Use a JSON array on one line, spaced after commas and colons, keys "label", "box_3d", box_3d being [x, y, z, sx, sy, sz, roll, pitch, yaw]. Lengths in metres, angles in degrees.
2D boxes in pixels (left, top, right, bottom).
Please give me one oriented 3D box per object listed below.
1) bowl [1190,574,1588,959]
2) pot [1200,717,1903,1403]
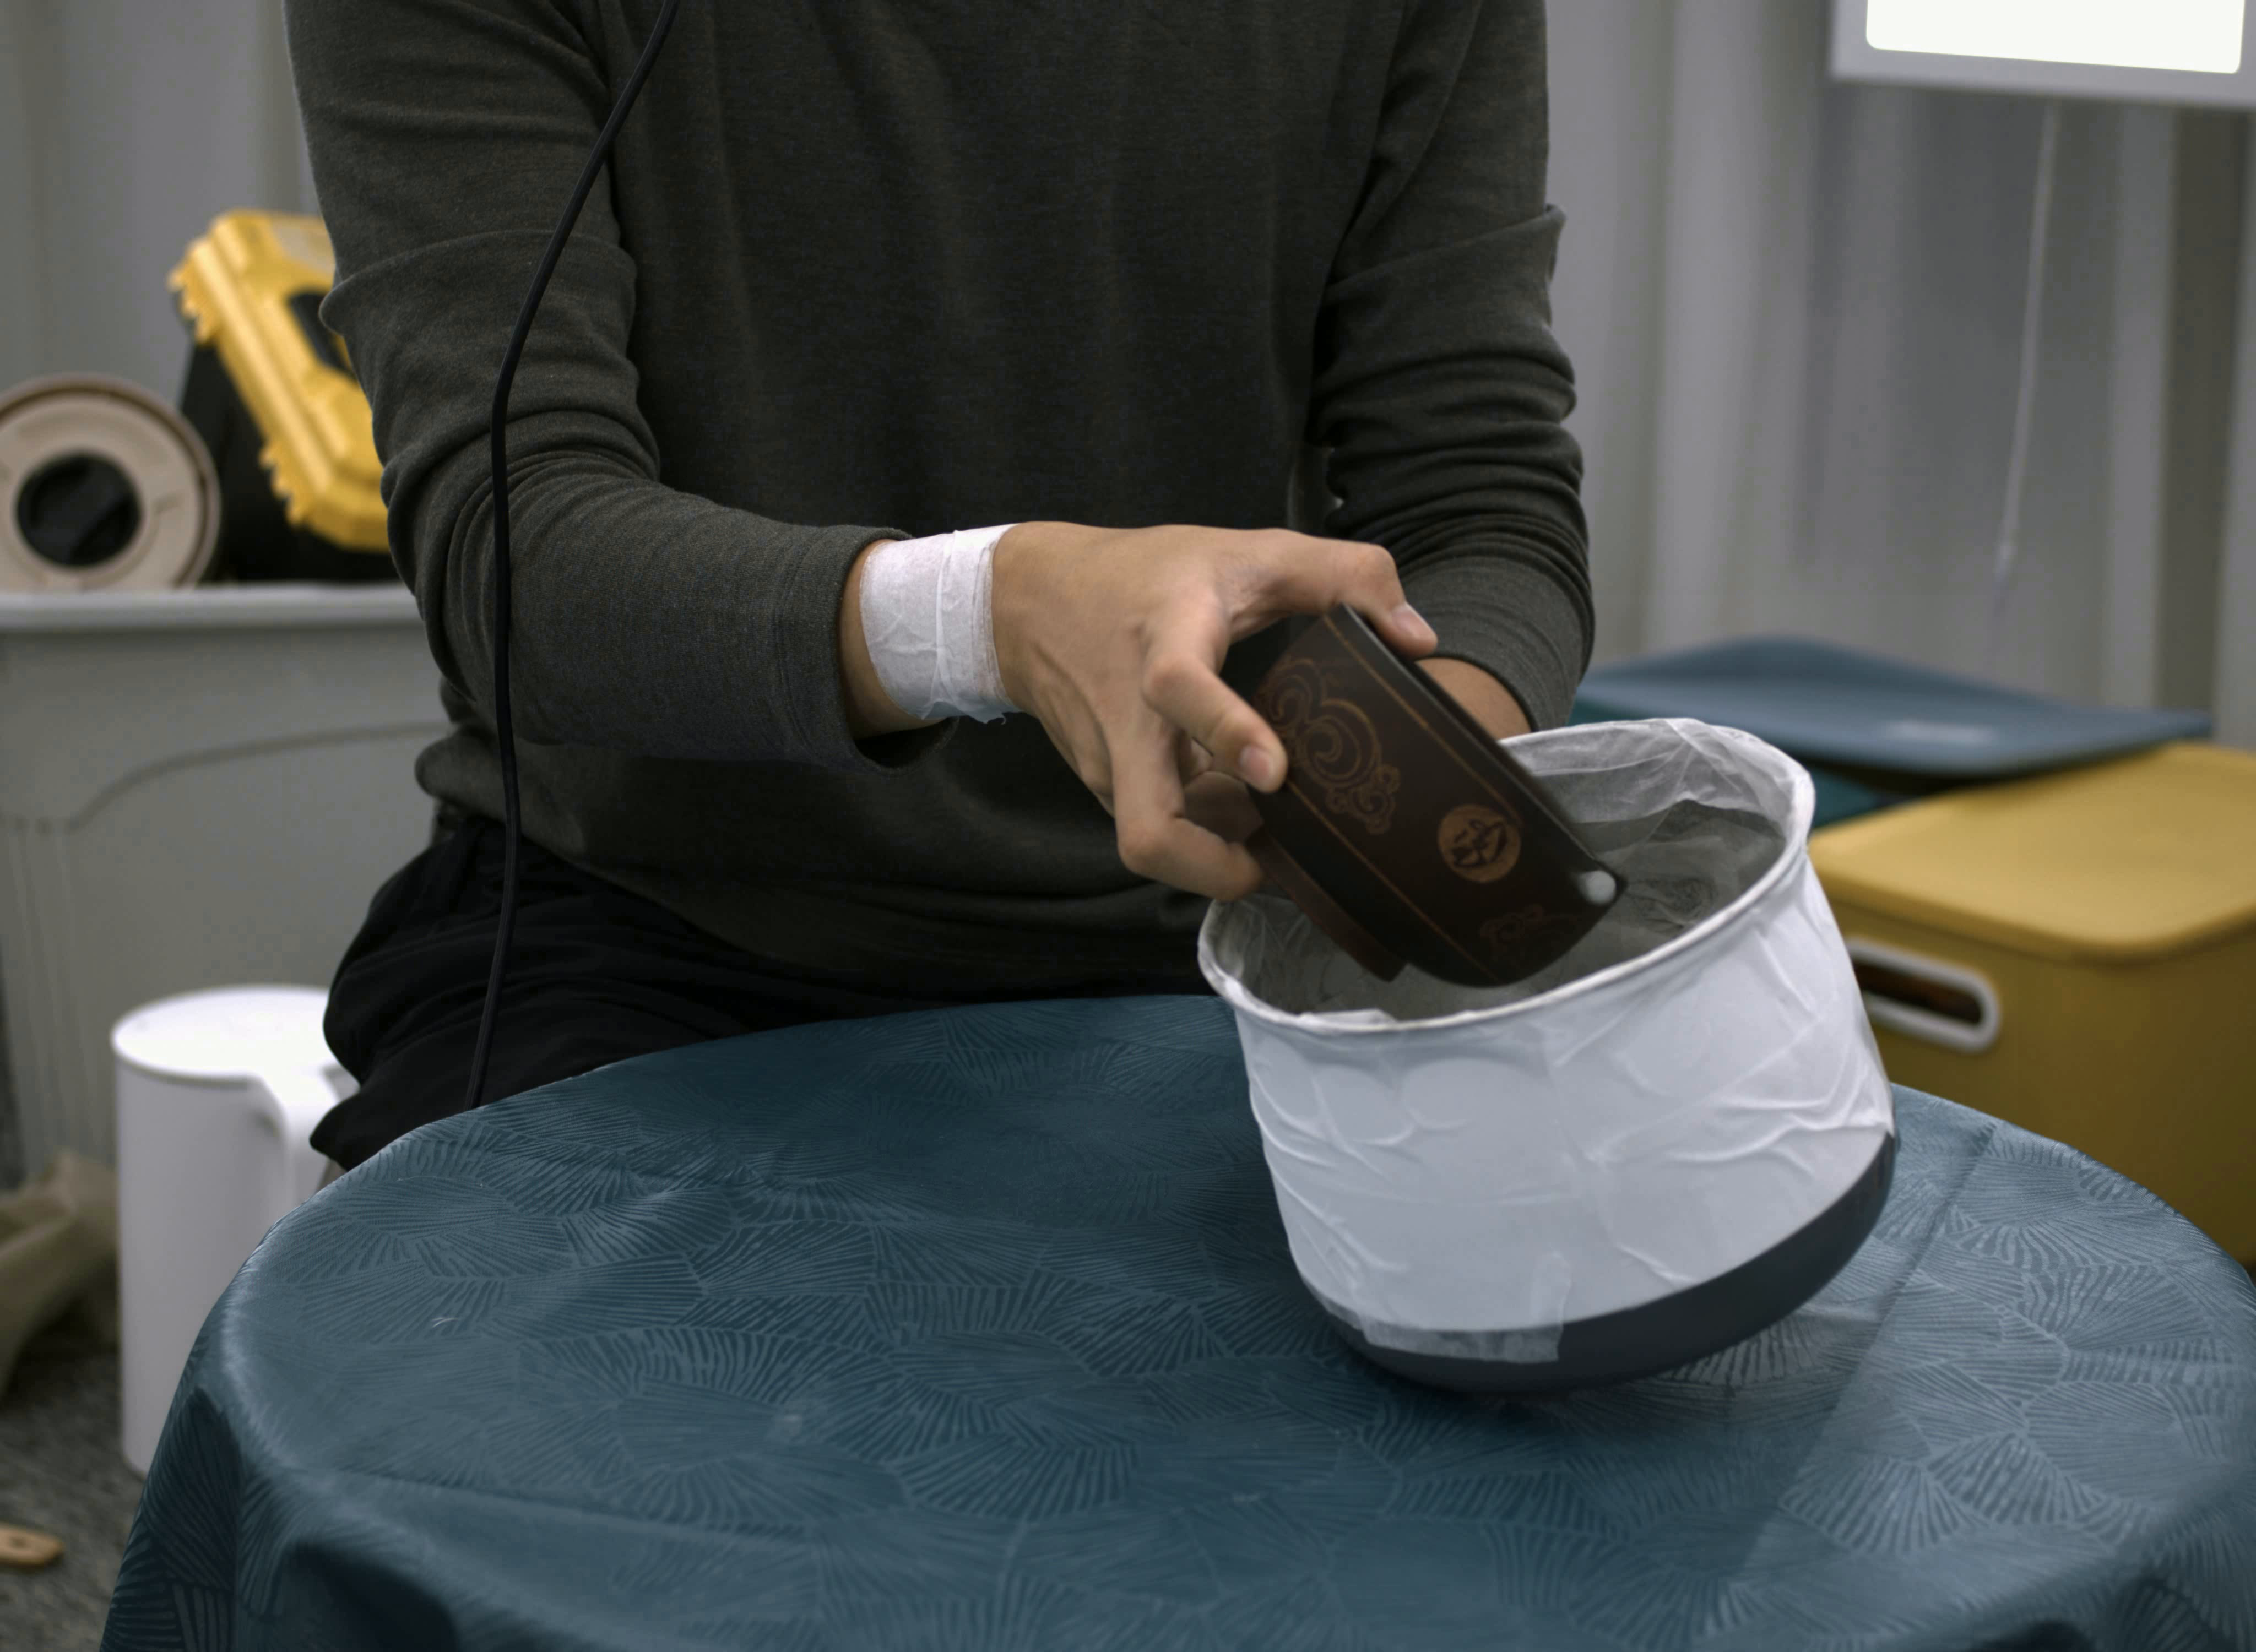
[{"label": "bowl", "box_3d": [0.064, -0.007, 1.475, 0.118, 0.070, 0.118, 41, -2, 2]}, {"label": "pot", "box_3d": [0.111, 0.059, 1.505, 0.179, 0.138, 0.231, -24, 24, -15]}]
